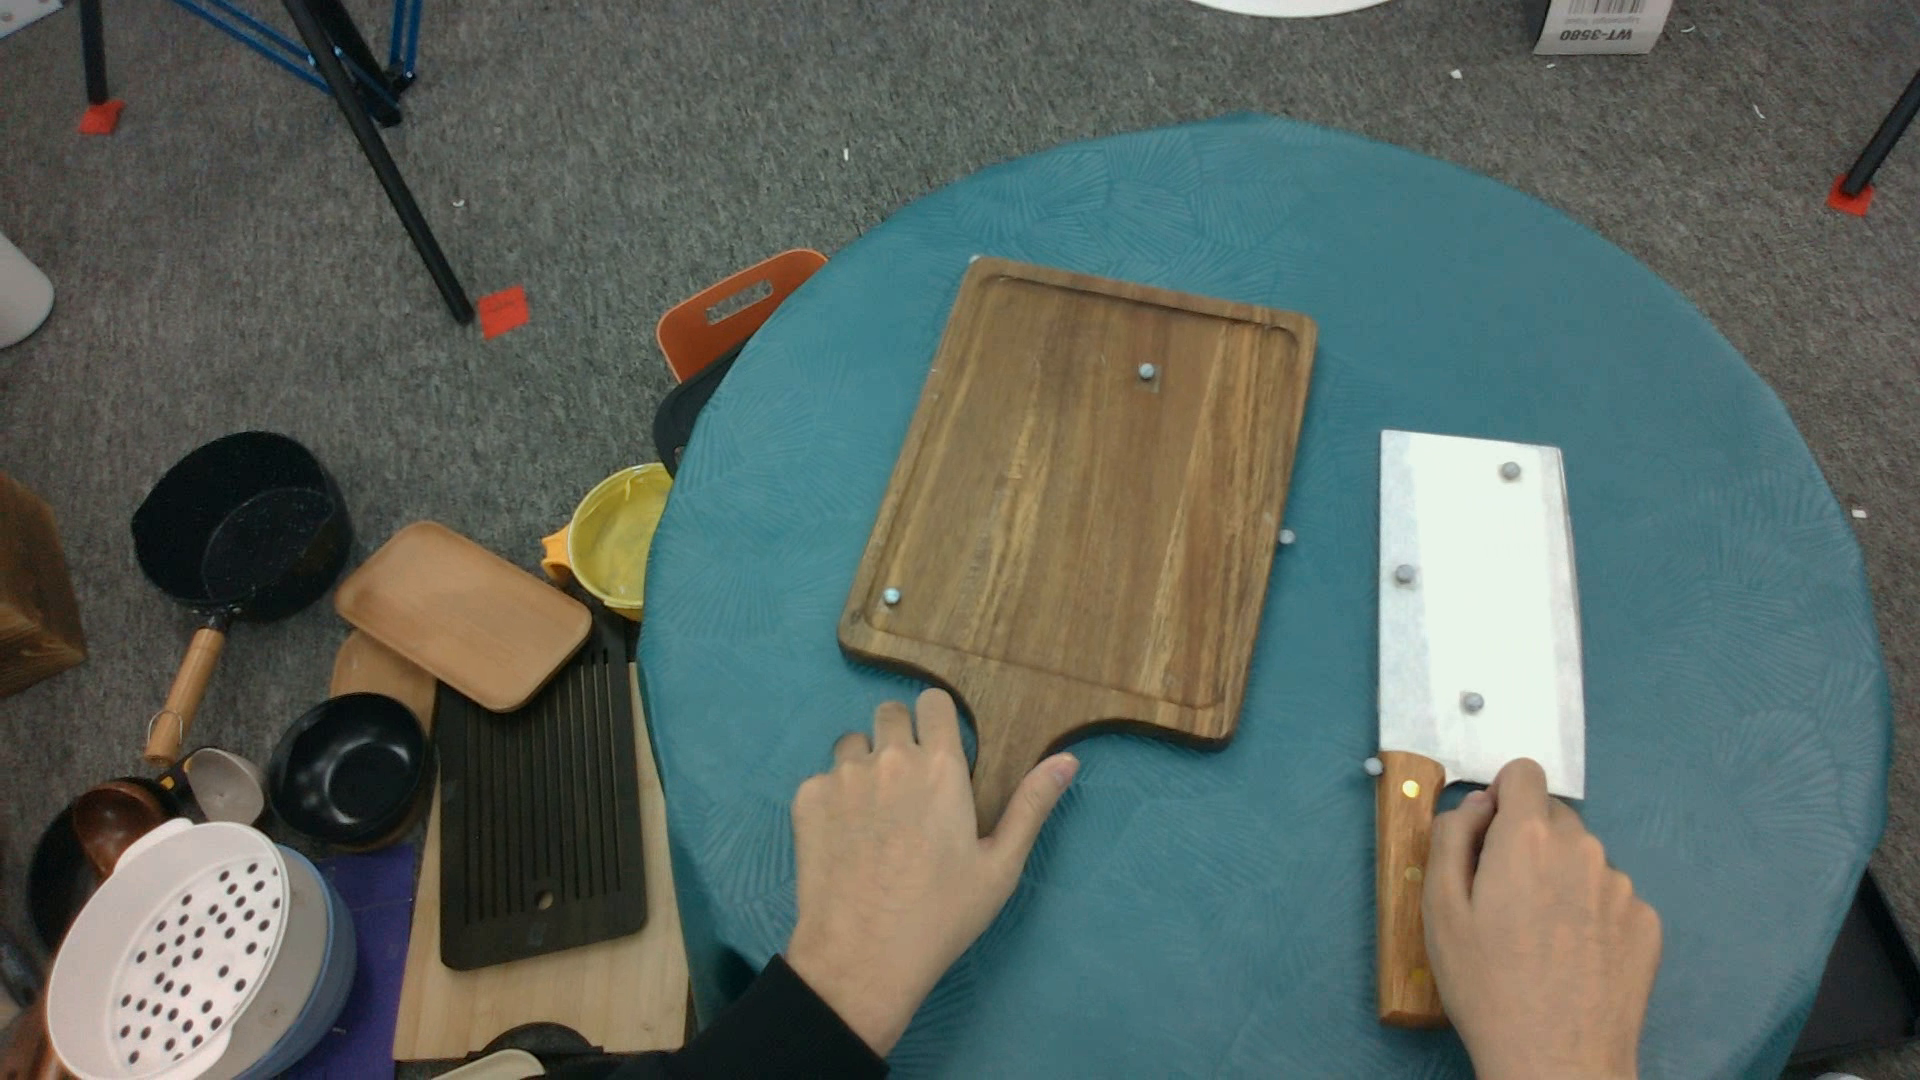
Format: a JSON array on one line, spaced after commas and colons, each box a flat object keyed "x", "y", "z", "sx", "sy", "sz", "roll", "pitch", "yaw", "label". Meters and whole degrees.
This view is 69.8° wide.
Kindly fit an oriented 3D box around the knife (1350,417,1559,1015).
[{"x": 0.229, "y": 0.067, "z": 0.640, "sx": 0.093, "sy": 0.021, "sz": 0.307, "roll": 7, "pitch": 60, "yaw": 5, "label": "knife"}]

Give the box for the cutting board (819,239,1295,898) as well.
[{"x": 0.043, "y": 0.002, "z": 0.683, "sx": 0.201, "sy": 0.023, "sz": 0.353, "roll": 12, "pitch": 63, "yaw": 10, "label": "cutting board"}]
